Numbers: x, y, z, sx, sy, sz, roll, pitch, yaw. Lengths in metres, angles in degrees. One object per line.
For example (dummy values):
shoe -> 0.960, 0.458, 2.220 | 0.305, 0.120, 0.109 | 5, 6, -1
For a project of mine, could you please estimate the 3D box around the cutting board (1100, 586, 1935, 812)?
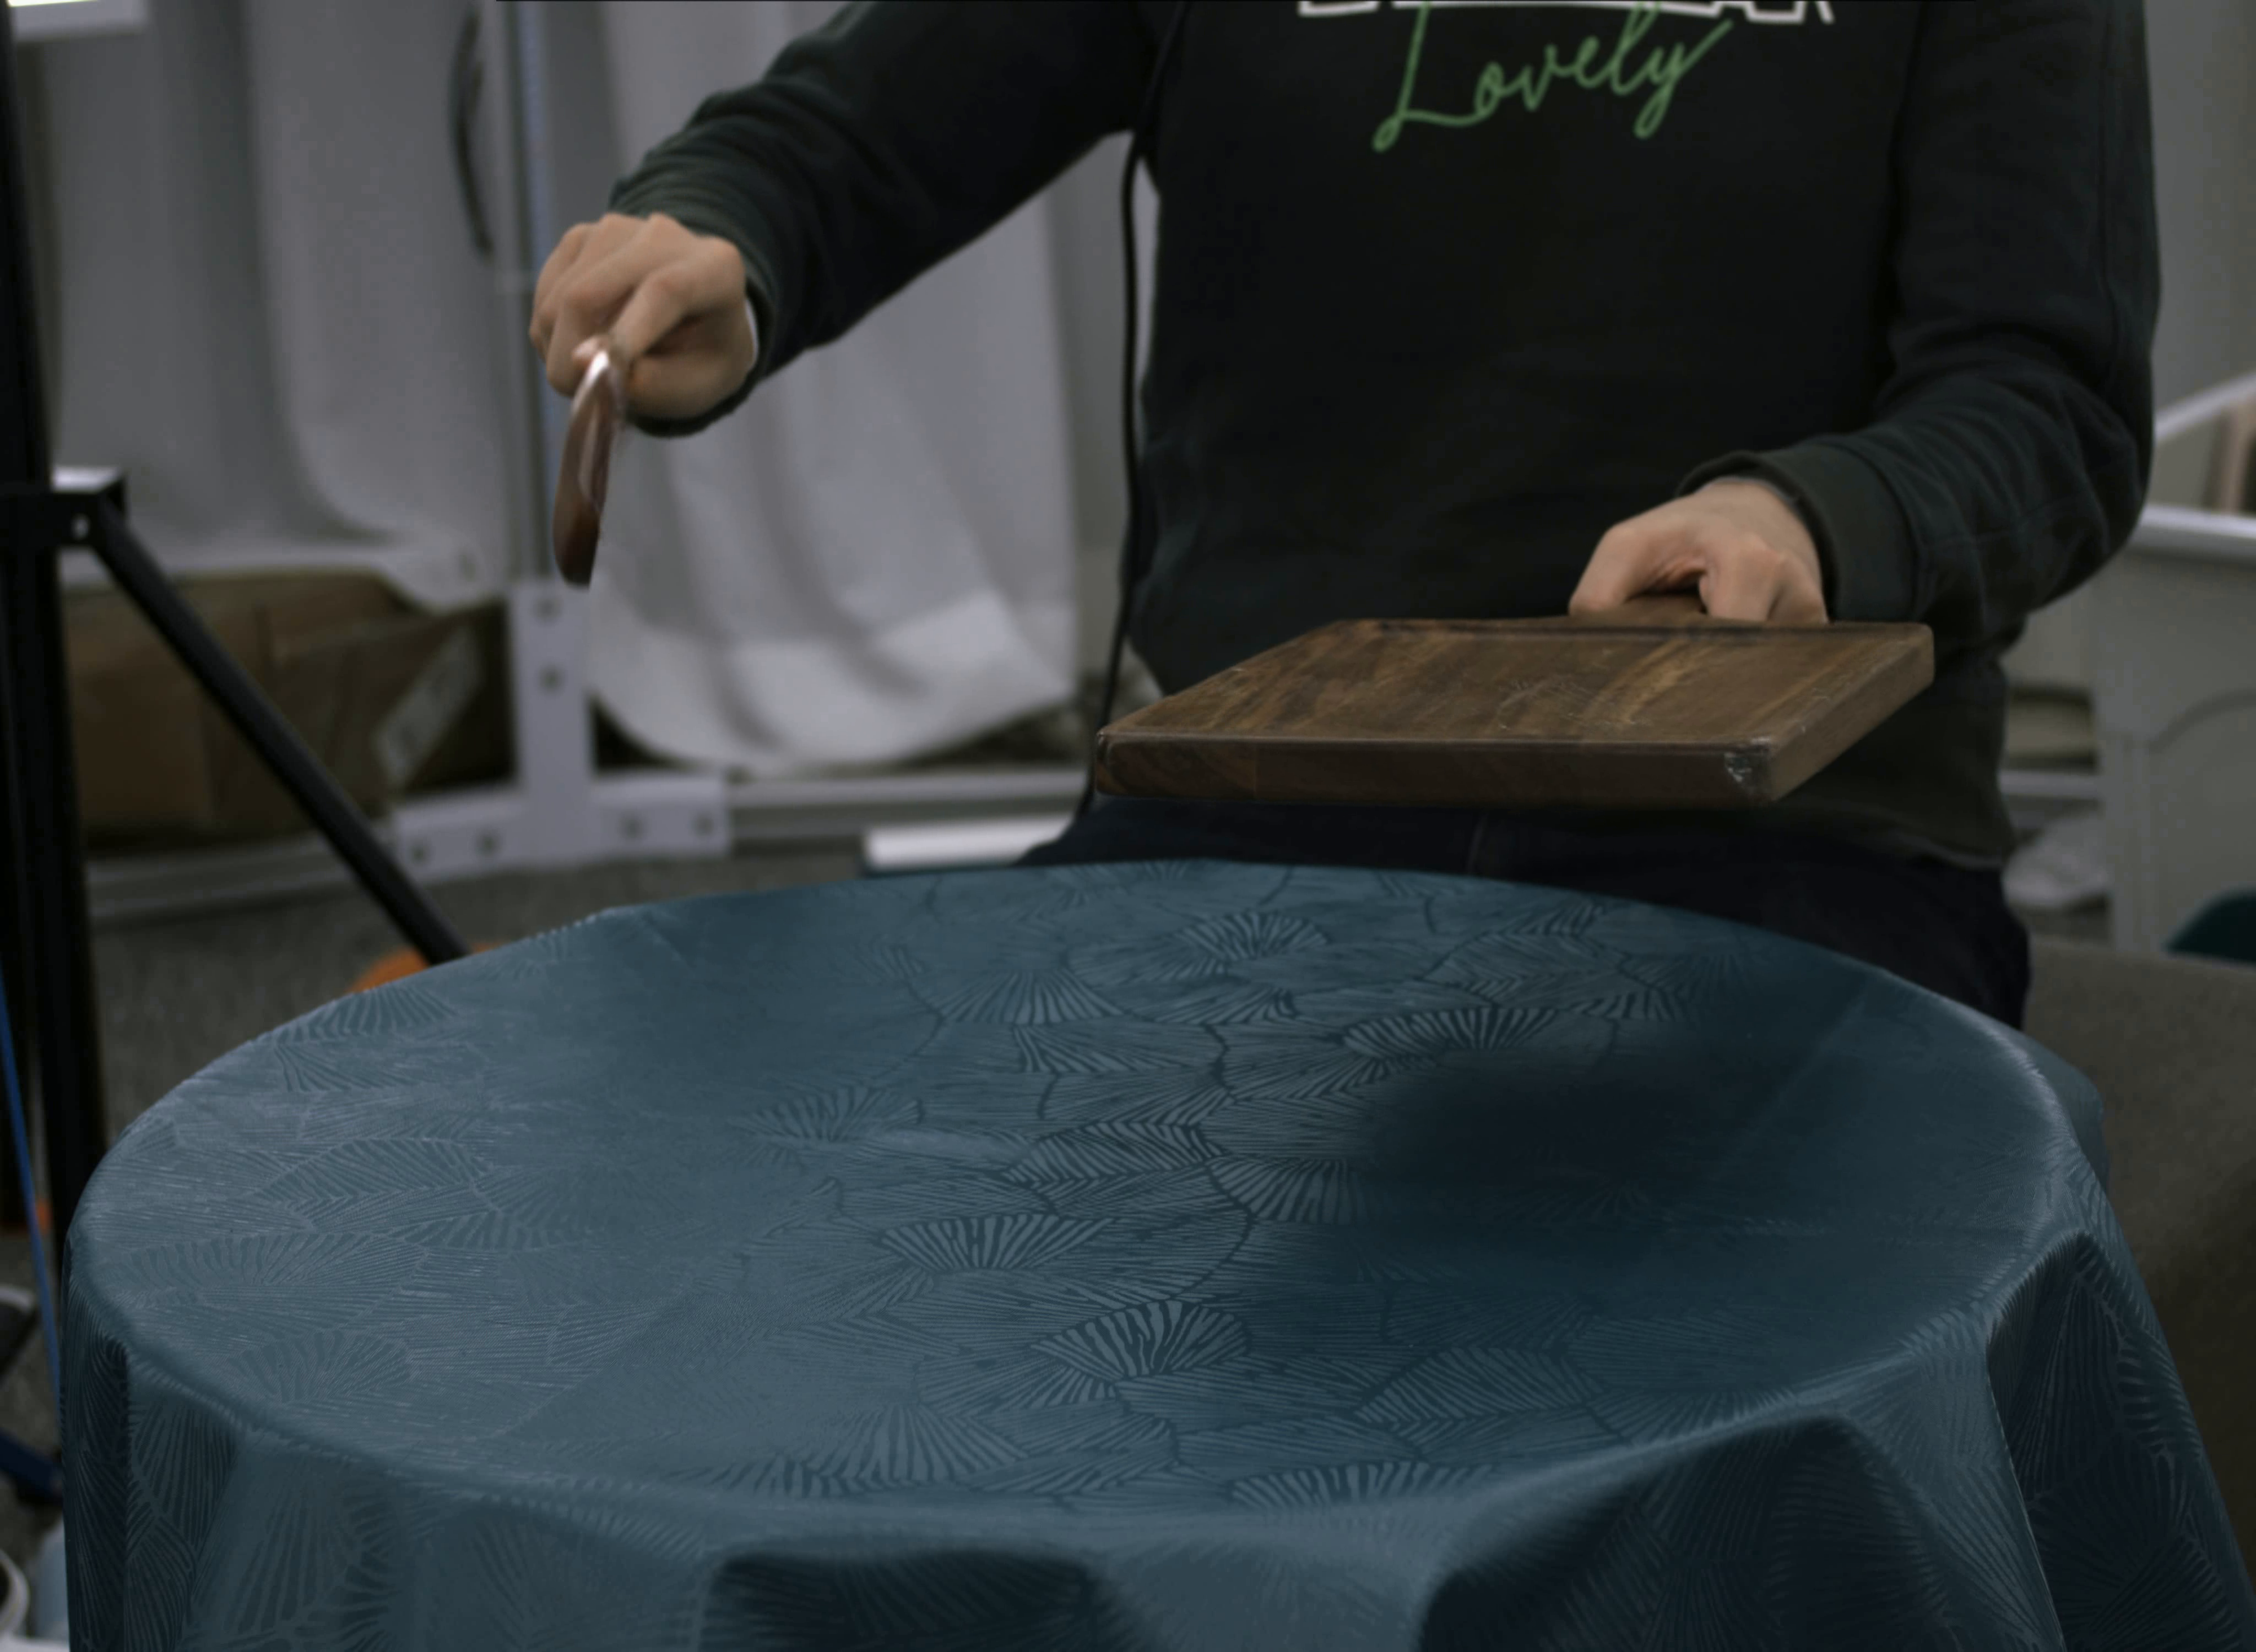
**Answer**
cutting board -> 0.135, -0.041, 1.599 | 0.203, 0.023, 0.347 | 0, 9, 19

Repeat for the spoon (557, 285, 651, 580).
spoon -> -0.167, -0.136, 1.705 | 0.017, 0.075, 0.217 | 5, 19, -3
